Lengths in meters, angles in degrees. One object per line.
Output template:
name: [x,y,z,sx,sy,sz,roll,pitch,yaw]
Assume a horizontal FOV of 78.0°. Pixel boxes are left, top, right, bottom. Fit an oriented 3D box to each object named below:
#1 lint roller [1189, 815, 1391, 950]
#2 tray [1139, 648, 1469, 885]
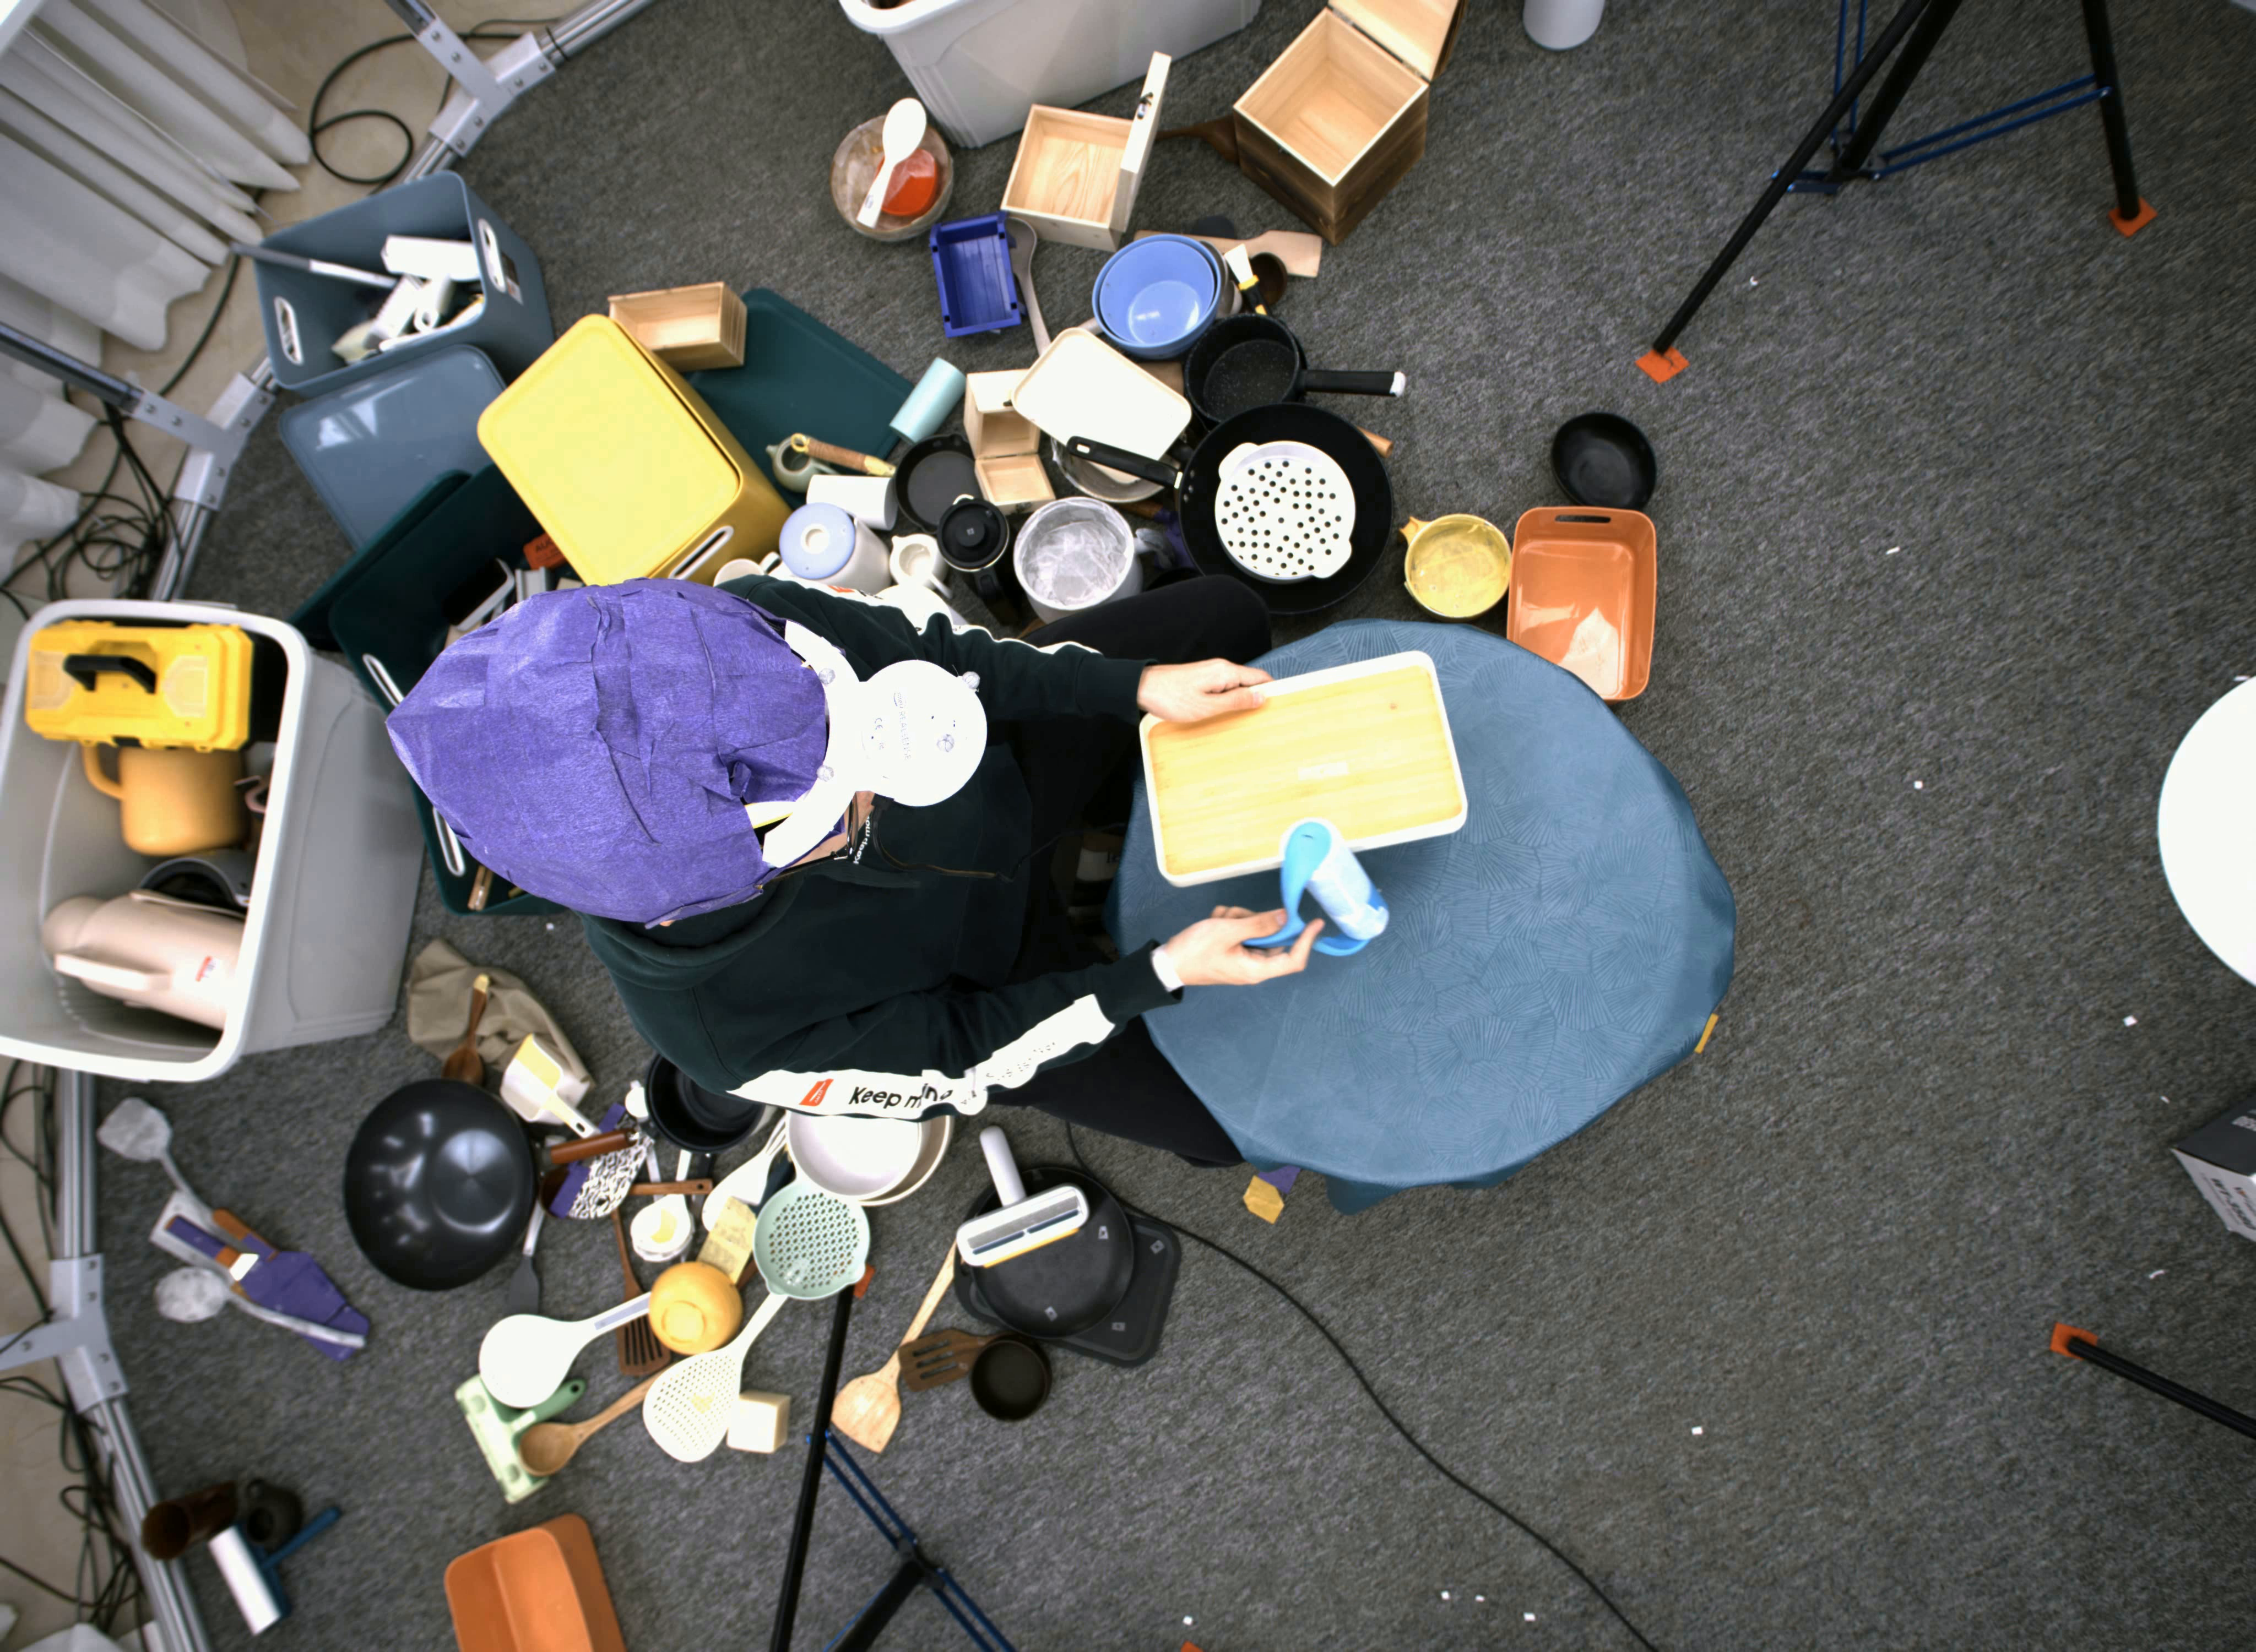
lint roller: [0.147,0.078,1.315,0.182,0.230,0.066,-30,61,16]
tray: [0.166,-0.059,1.345,0.302,0.028,0.188,-12,67,12]
